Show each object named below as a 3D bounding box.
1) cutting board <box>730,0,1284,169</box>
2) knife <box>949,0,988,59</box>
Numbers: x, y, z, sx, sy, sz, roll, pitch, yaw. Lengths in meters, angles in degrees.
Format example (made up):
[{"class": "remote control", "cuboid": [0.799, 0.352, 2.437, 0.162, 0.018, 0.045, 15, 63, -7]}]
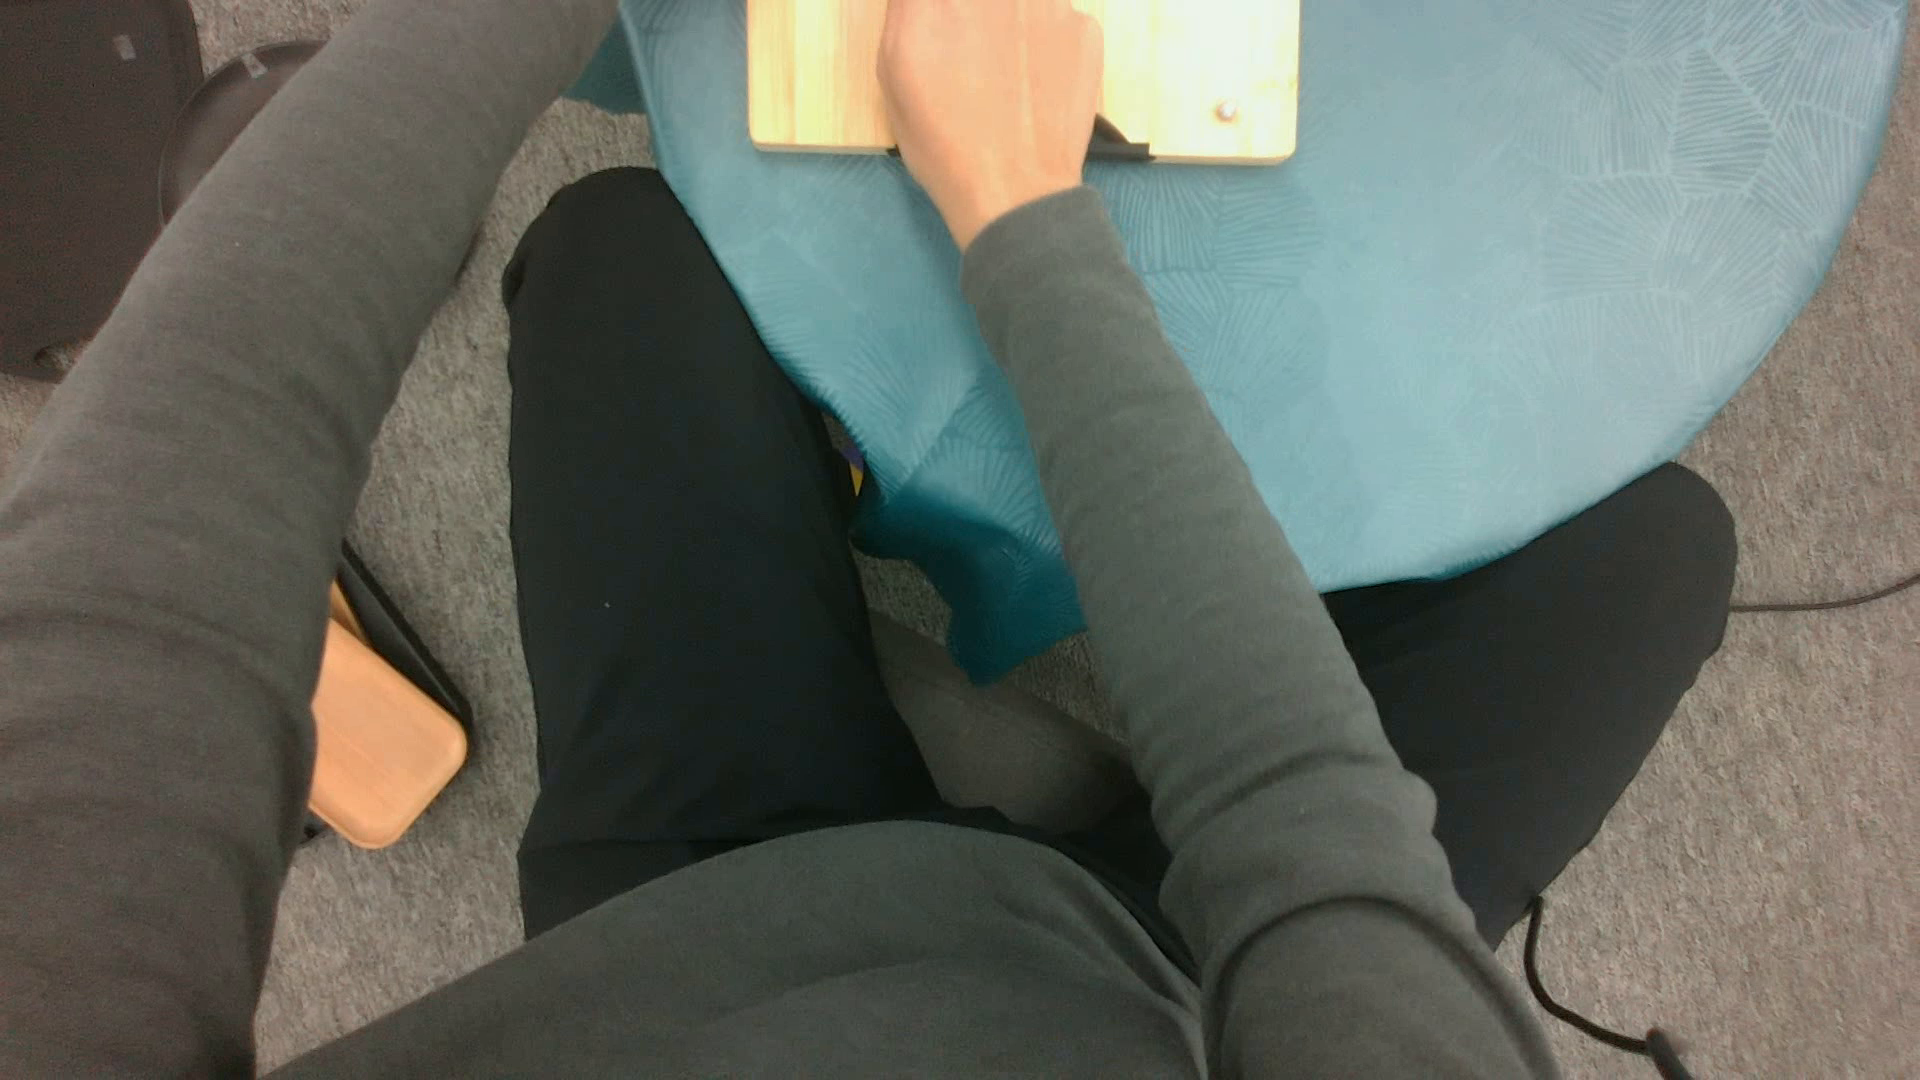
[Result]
[{"class": "cutting board", "cuboid": [0.024, -0.341, 0.599, 0.251, 0.023, 0.348, -1, 94, -5]}, {"class": "knife", "cuboid": [-0.005, -0.318, 0.570, 0.016, 0.024, 0.238, -4, 87, -5]}]
